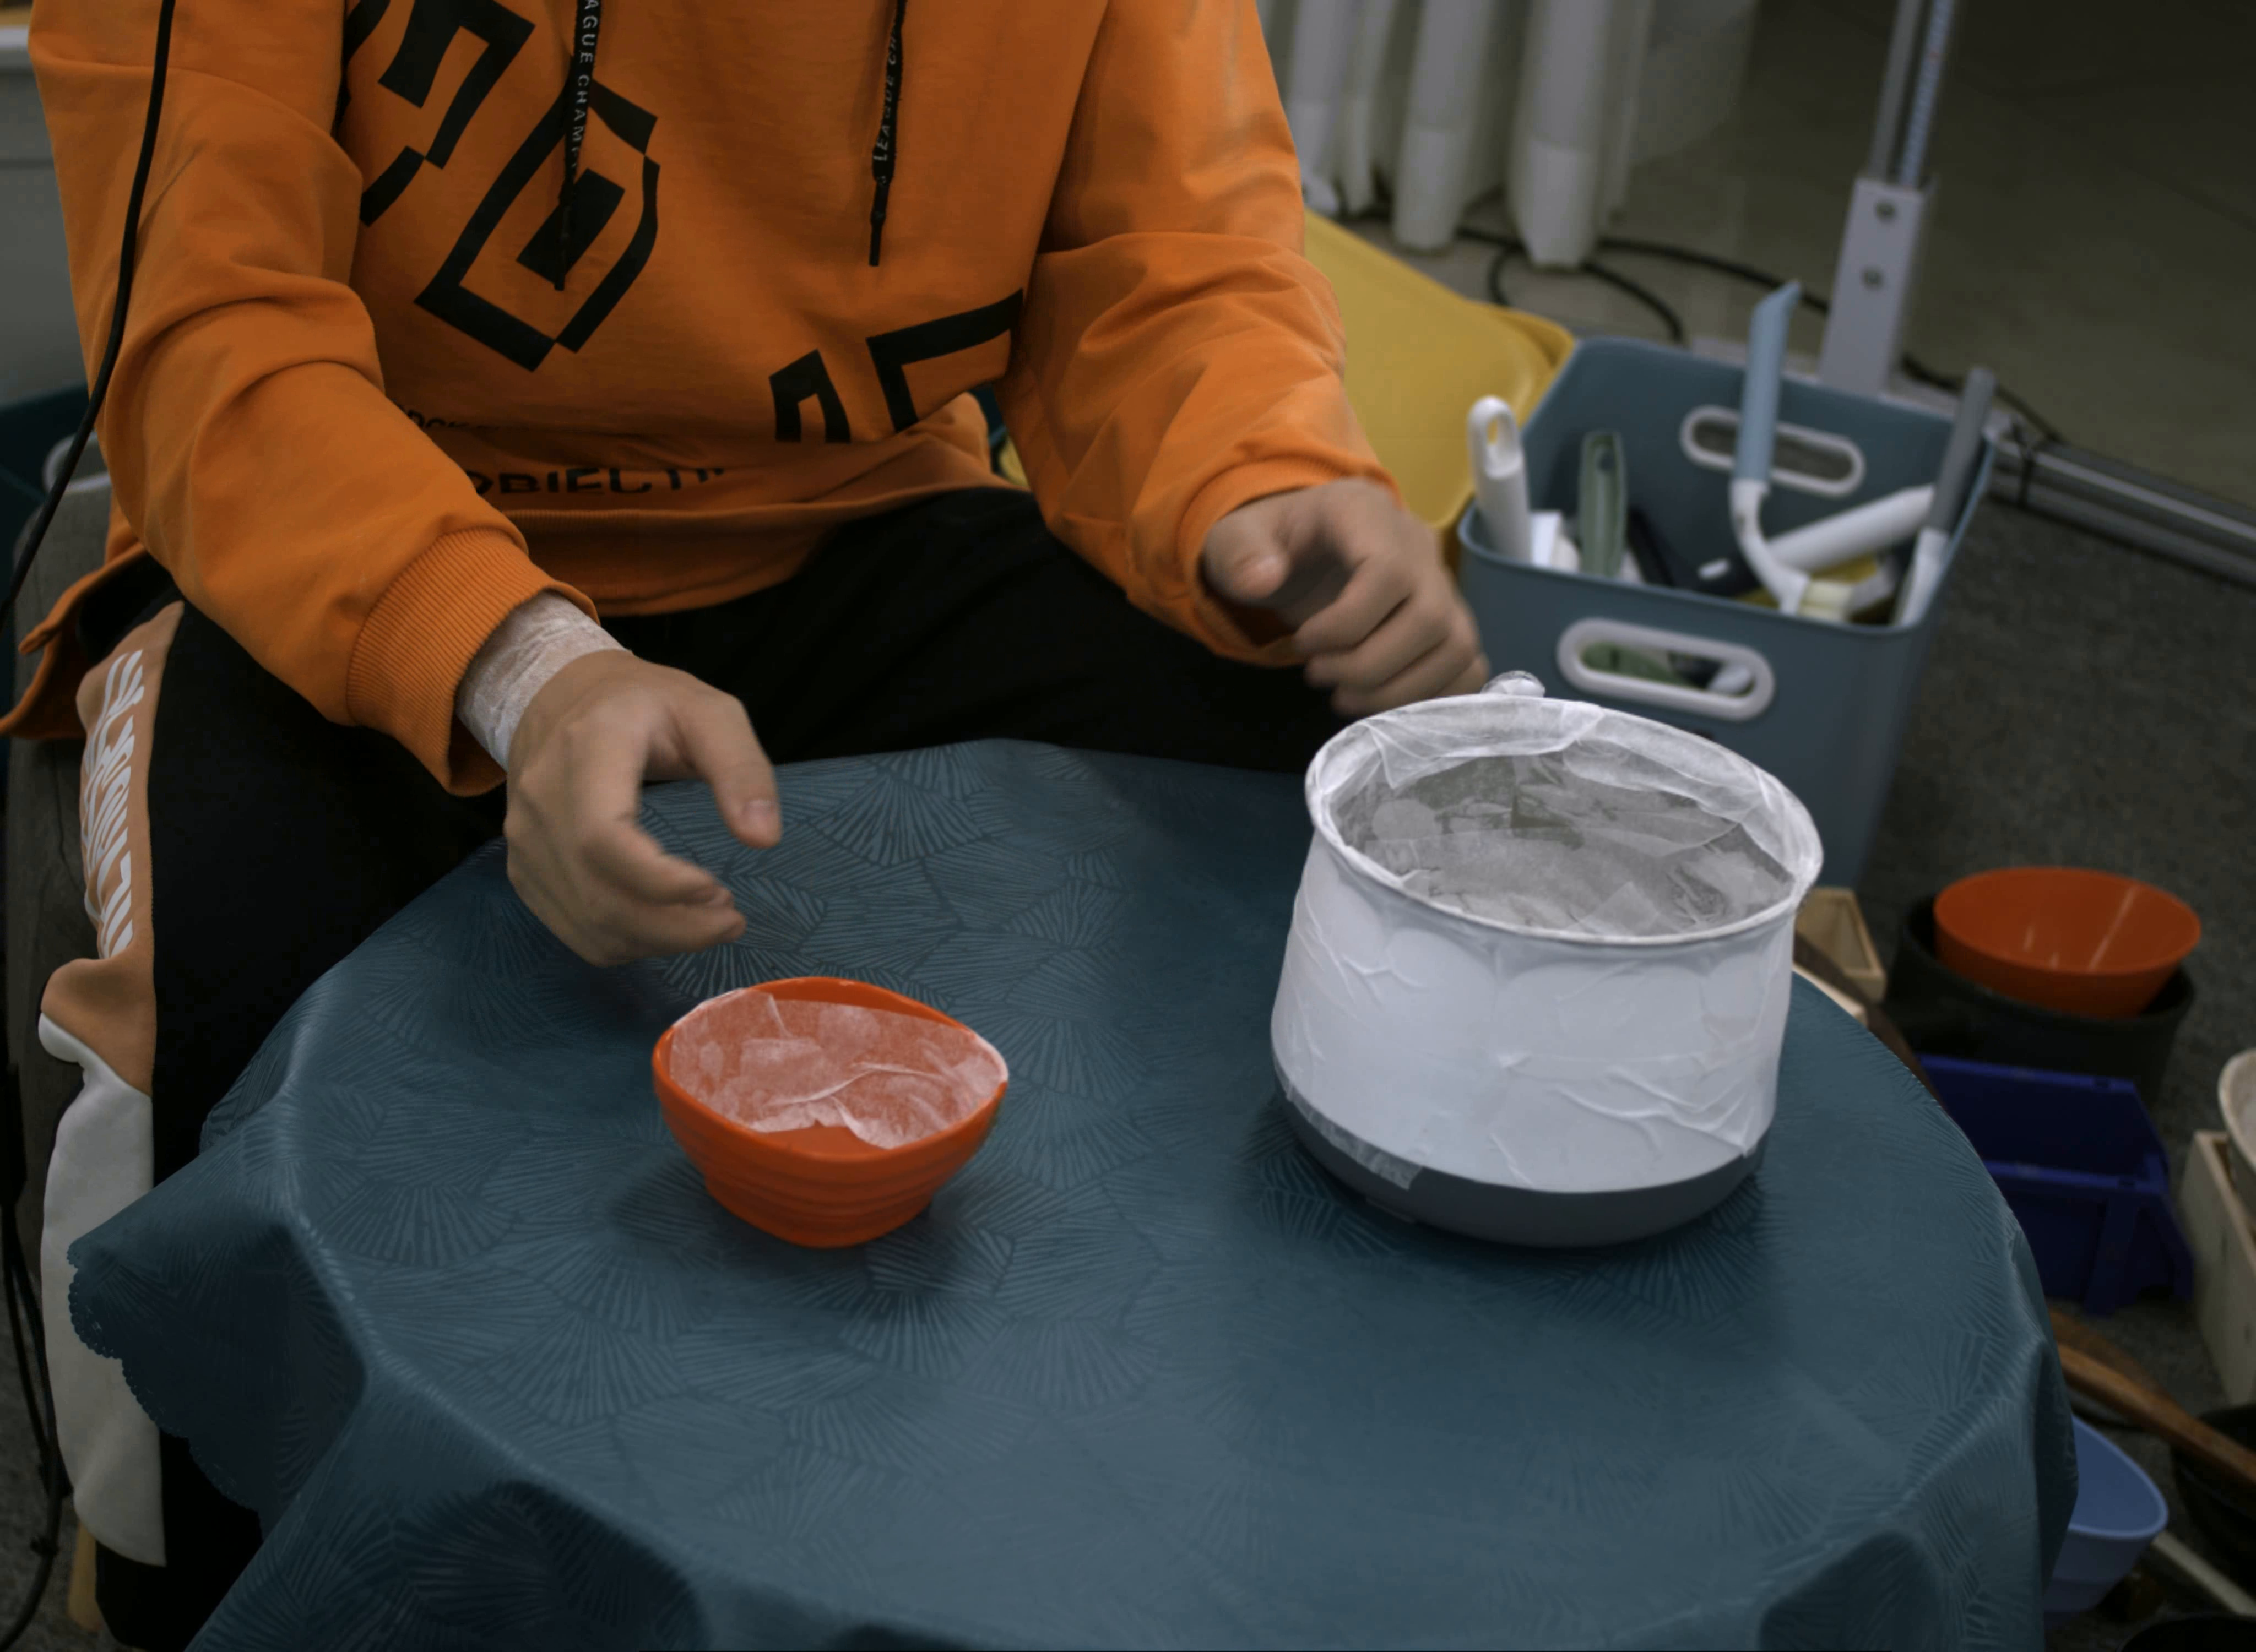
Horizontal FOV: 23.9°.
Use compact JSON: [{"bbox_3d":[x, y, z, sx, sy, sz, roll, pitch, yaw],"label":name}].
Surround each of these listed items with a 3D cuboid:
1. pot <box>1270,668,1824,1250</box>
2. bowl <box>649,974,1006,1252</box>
[{"bbox_3d":[0.137,0.039,1.849,0.178,0.136,0.235,3,27,-9],"label":"pot"},{"bbox_3d":[-0.102,0.100,1.771,0.118,0.051,0.119,5,28,-3],"label":"bowl"}]
